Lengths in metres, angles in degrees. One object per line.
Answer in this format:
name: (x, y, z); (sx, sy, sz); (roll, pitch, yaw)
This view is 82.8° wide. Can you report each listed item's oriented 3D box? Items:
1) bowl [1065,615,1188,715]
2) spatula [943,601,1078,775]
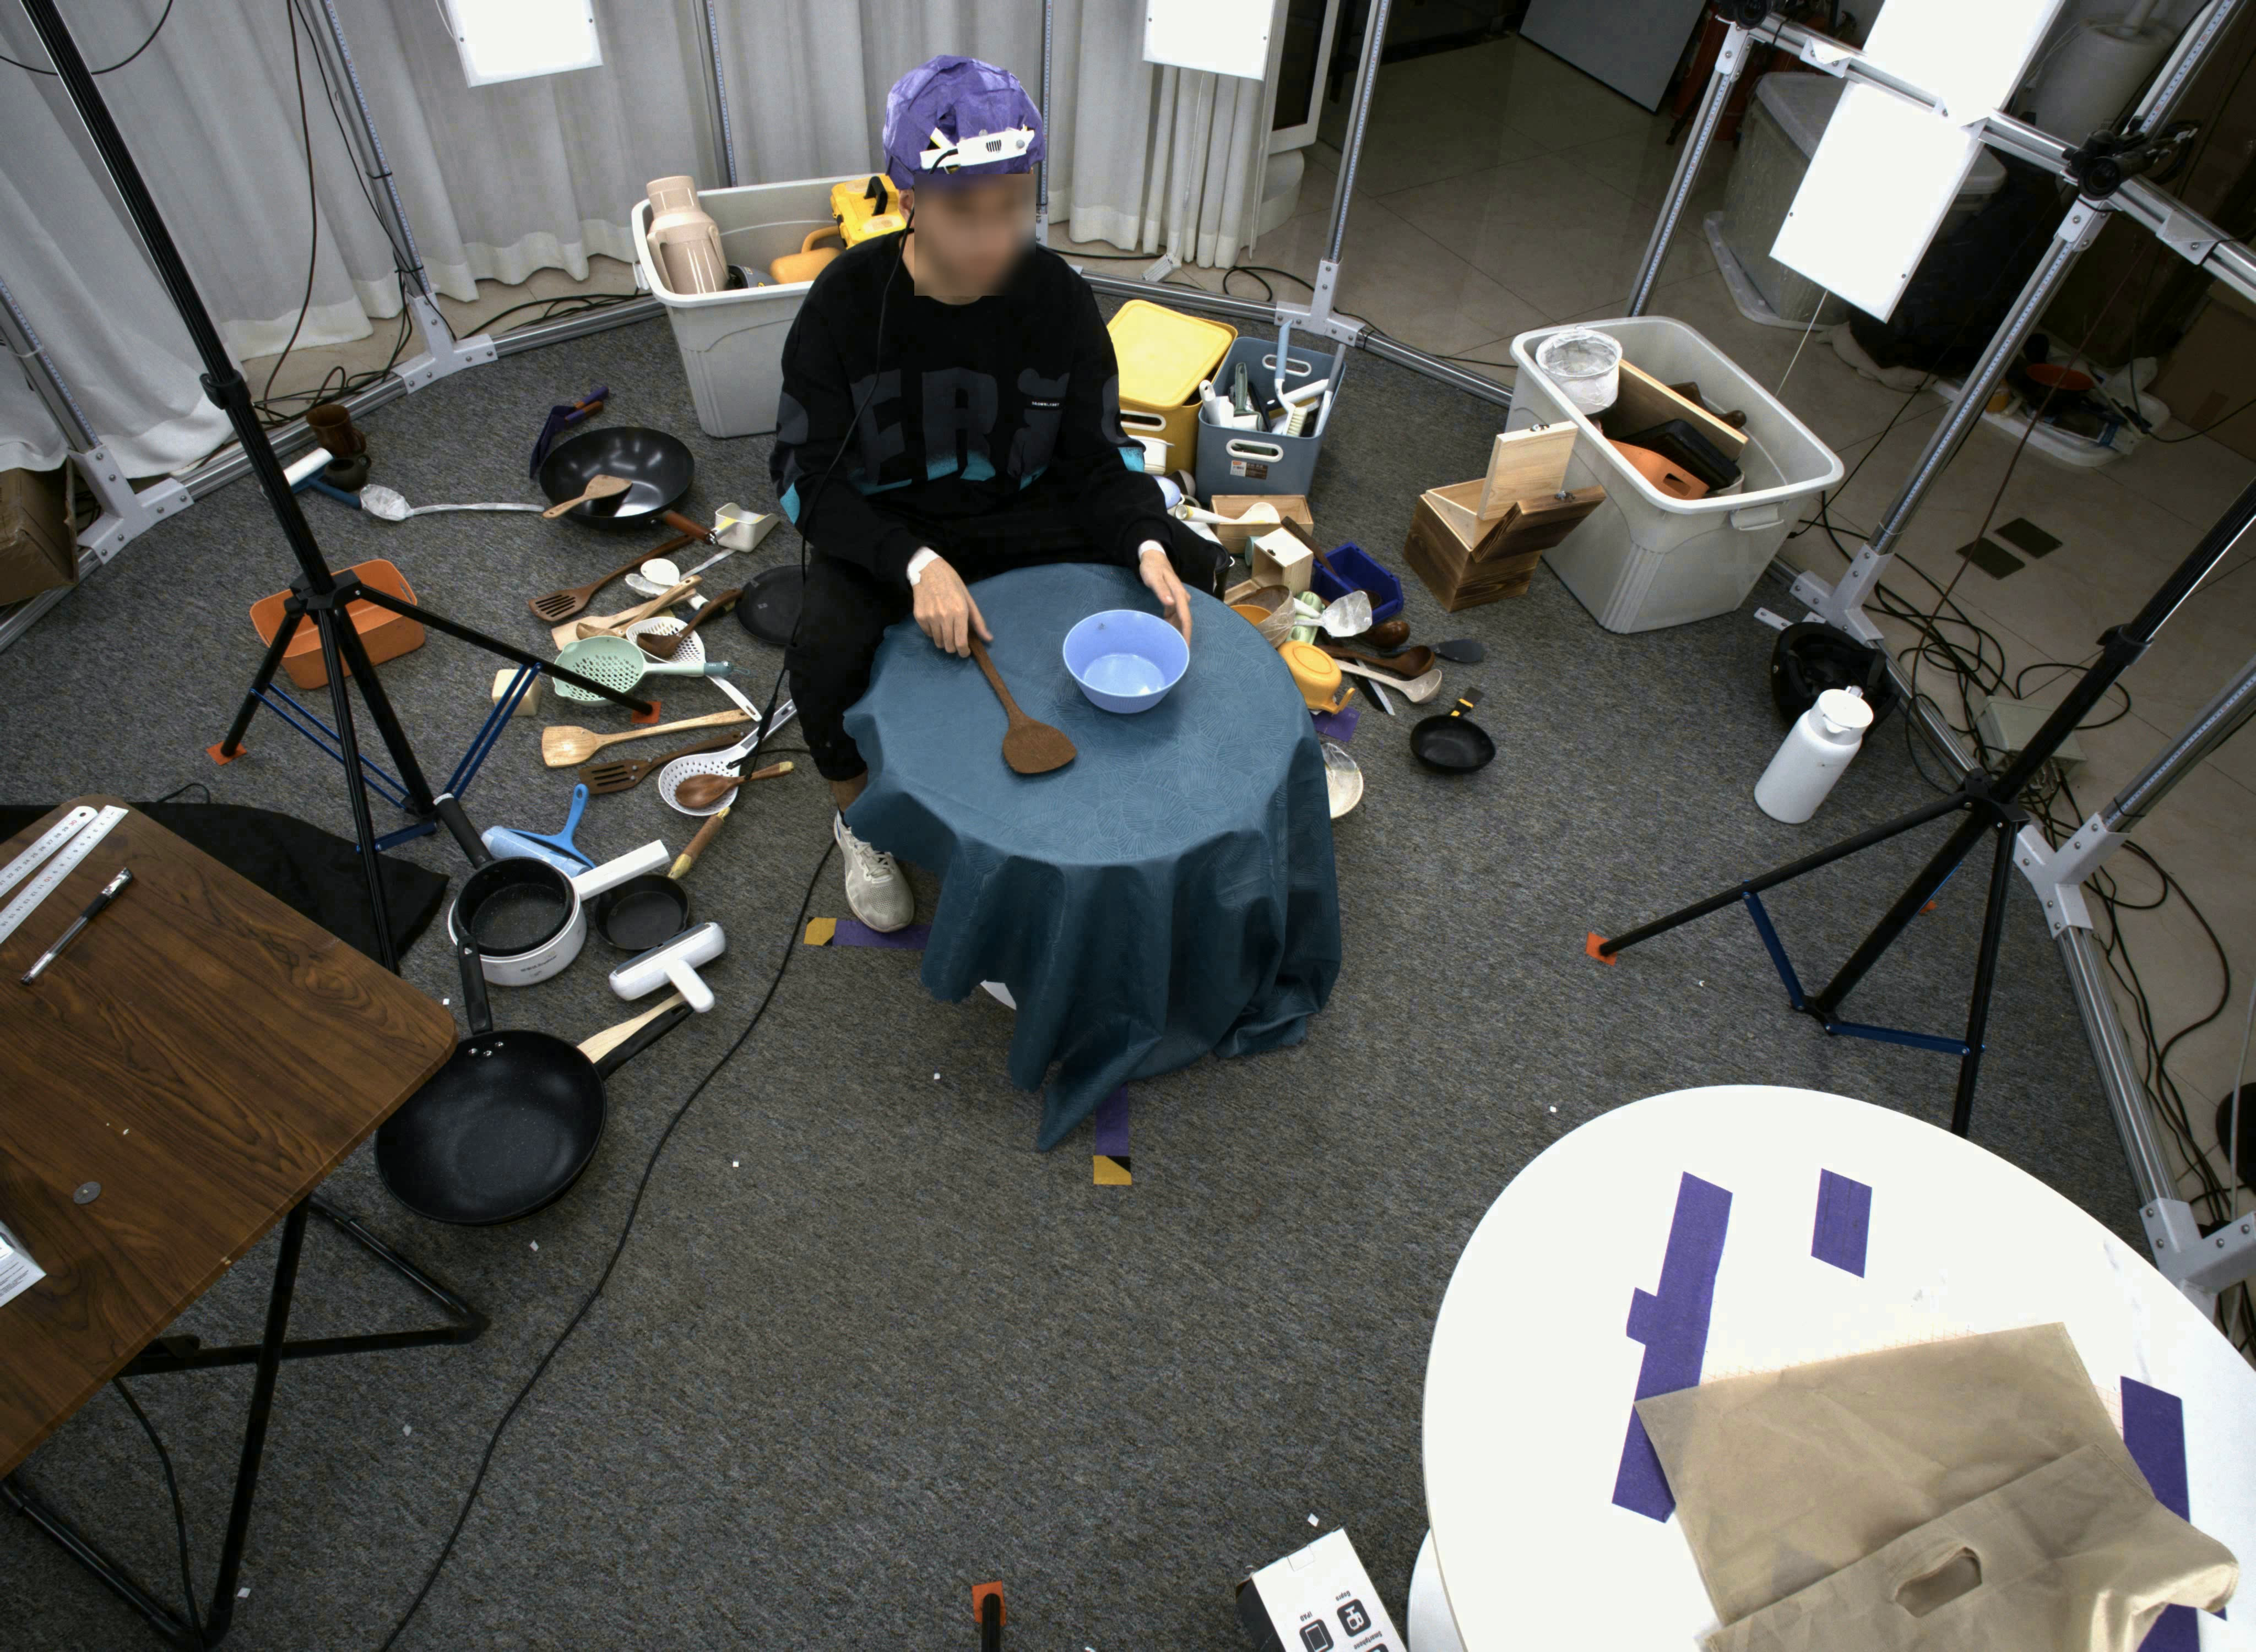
bowl: (-0.003, -0.221, 1.832); (0.176, 0.068, 0.180); (2, 47, -2)
spatula: (-0.187, -0.208, 1.844); (0.096, 0.015, 0.394); (-18, 52, -19)
